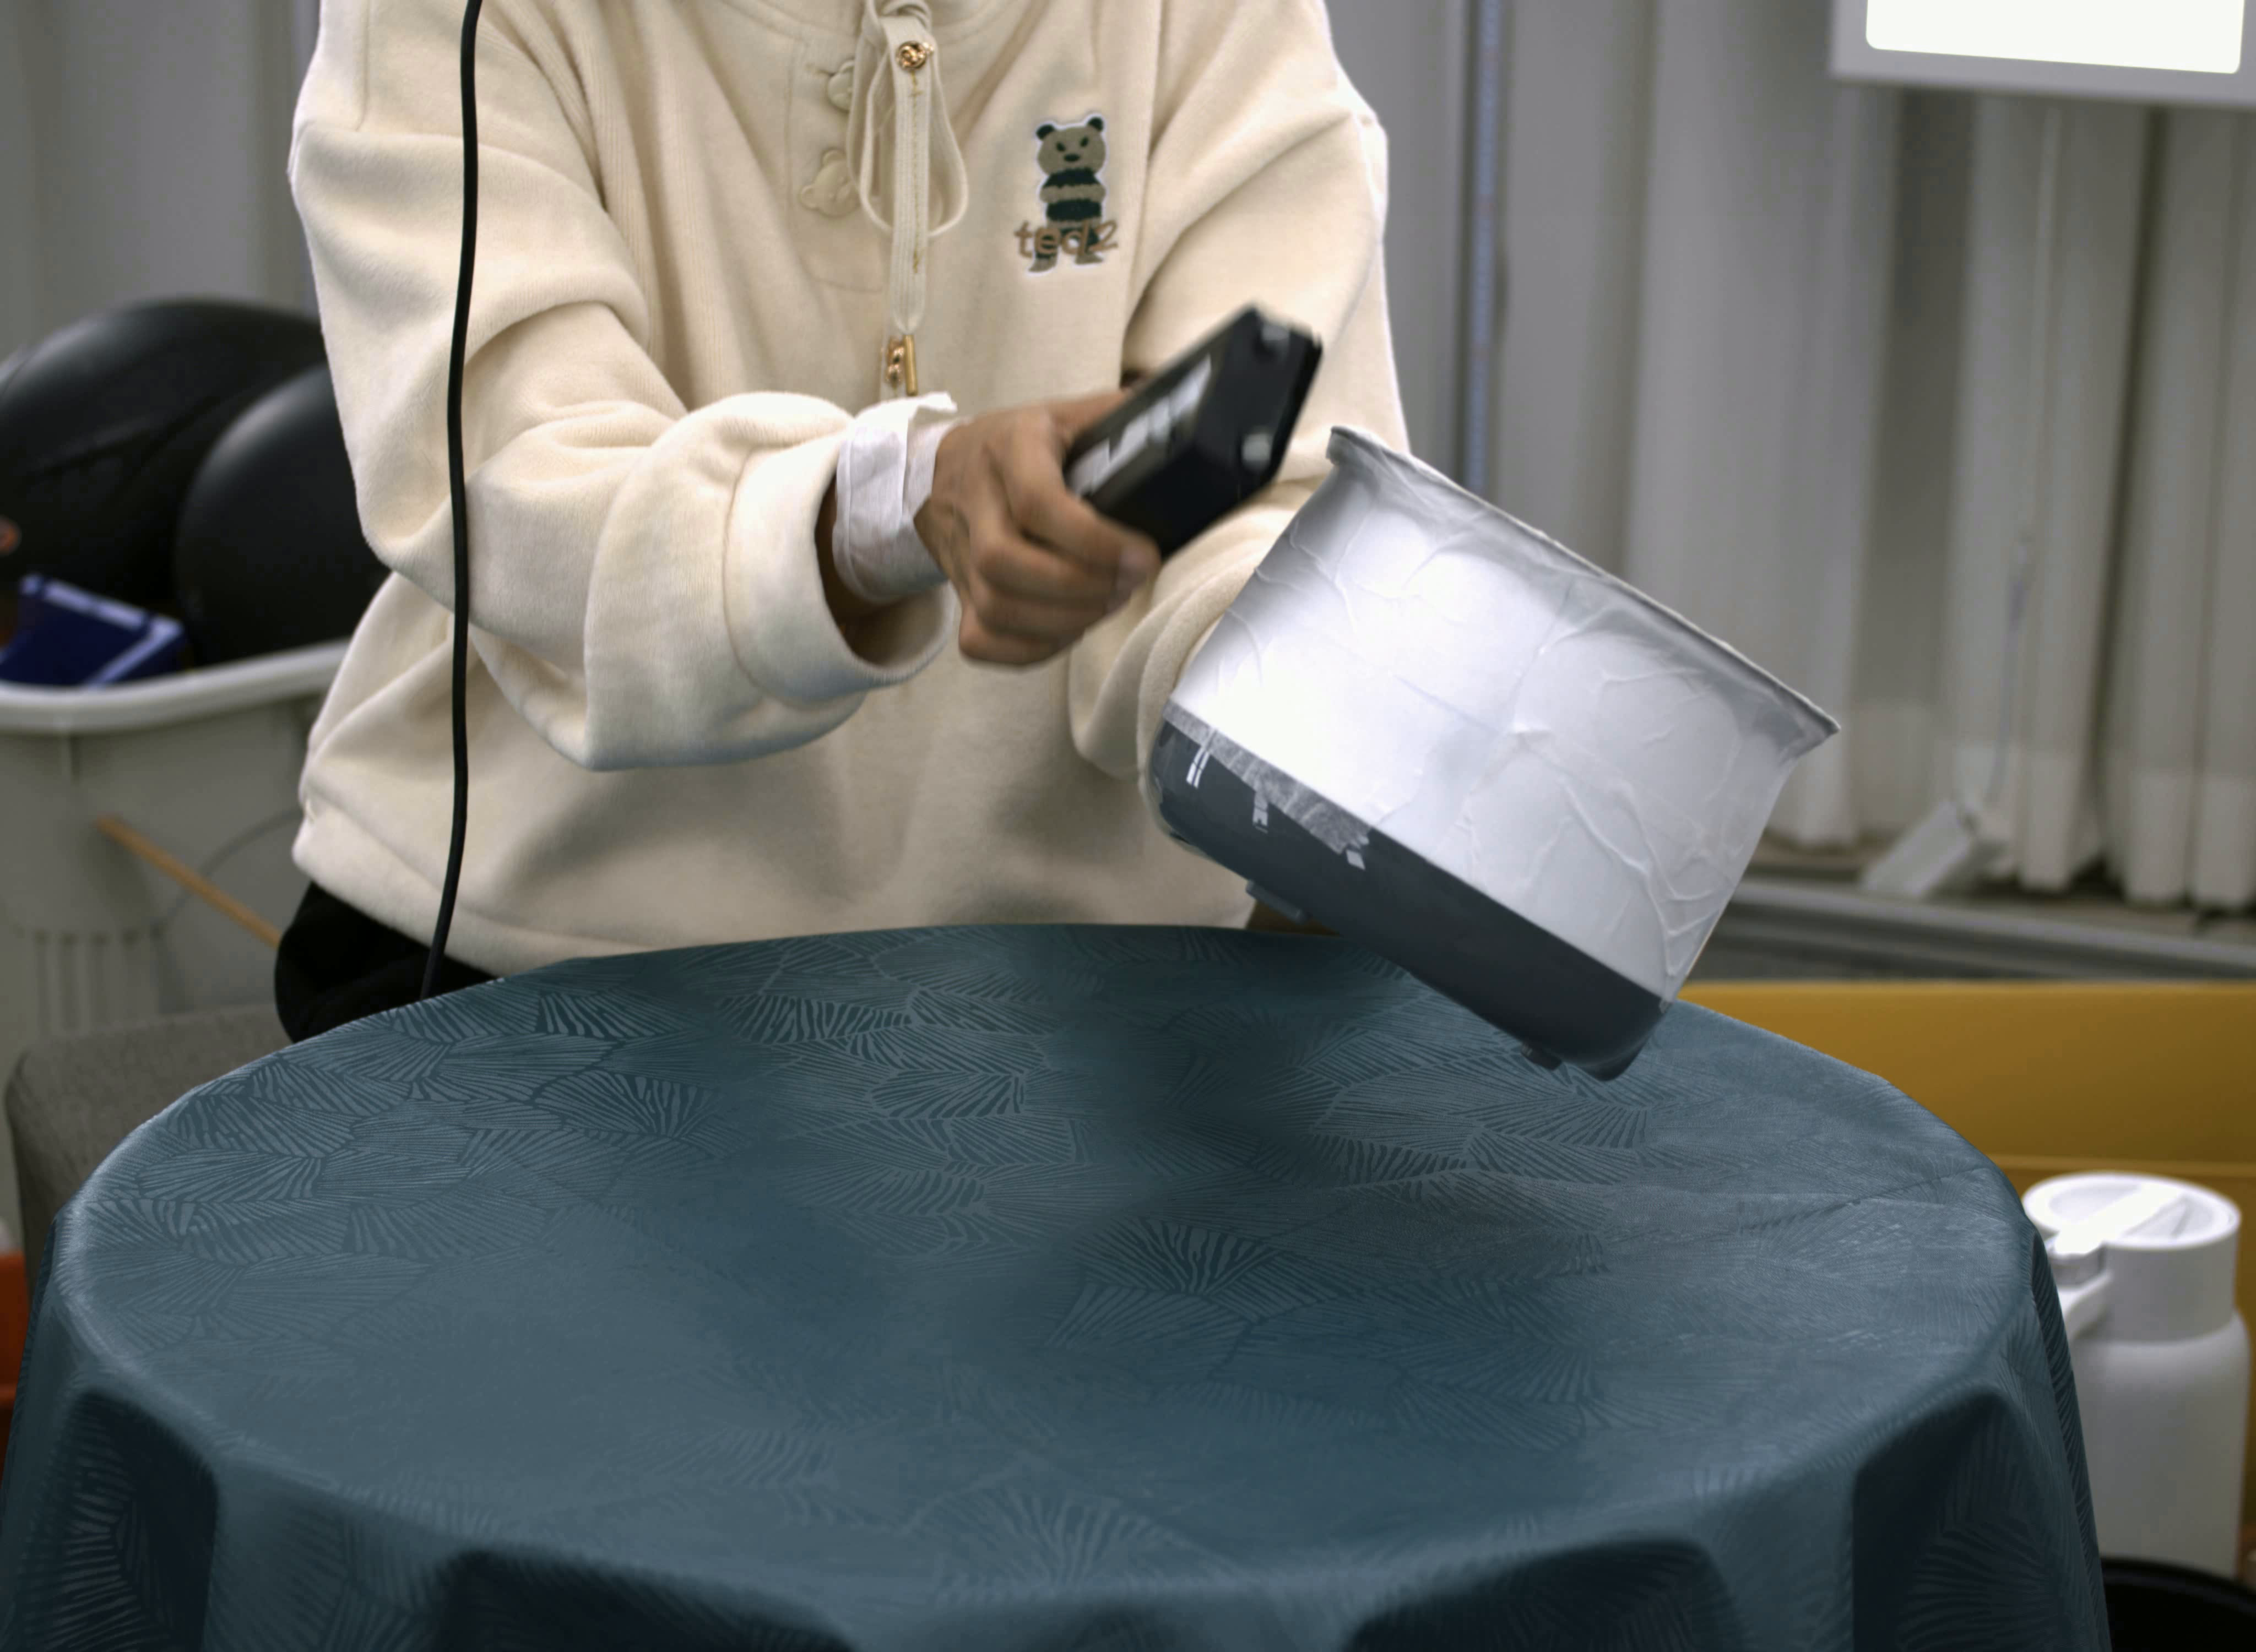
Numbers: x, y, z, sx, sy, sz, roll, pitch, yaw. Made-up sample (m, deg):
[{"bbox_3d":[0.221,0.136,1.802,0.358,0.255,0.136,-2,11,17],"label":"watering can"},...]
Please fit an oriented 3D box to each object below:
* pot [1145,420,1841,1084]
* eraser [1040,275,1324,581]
[{"bbox_3d":[0.096,-0.026,1.597,0.180,0.137,0.231,31,2,-21],"label":"pot"},{"bbox_3d":[0.015,-0.117,1.558,0.030,0.053,0.125,27,-24,-14],"label":"eraser"}]
